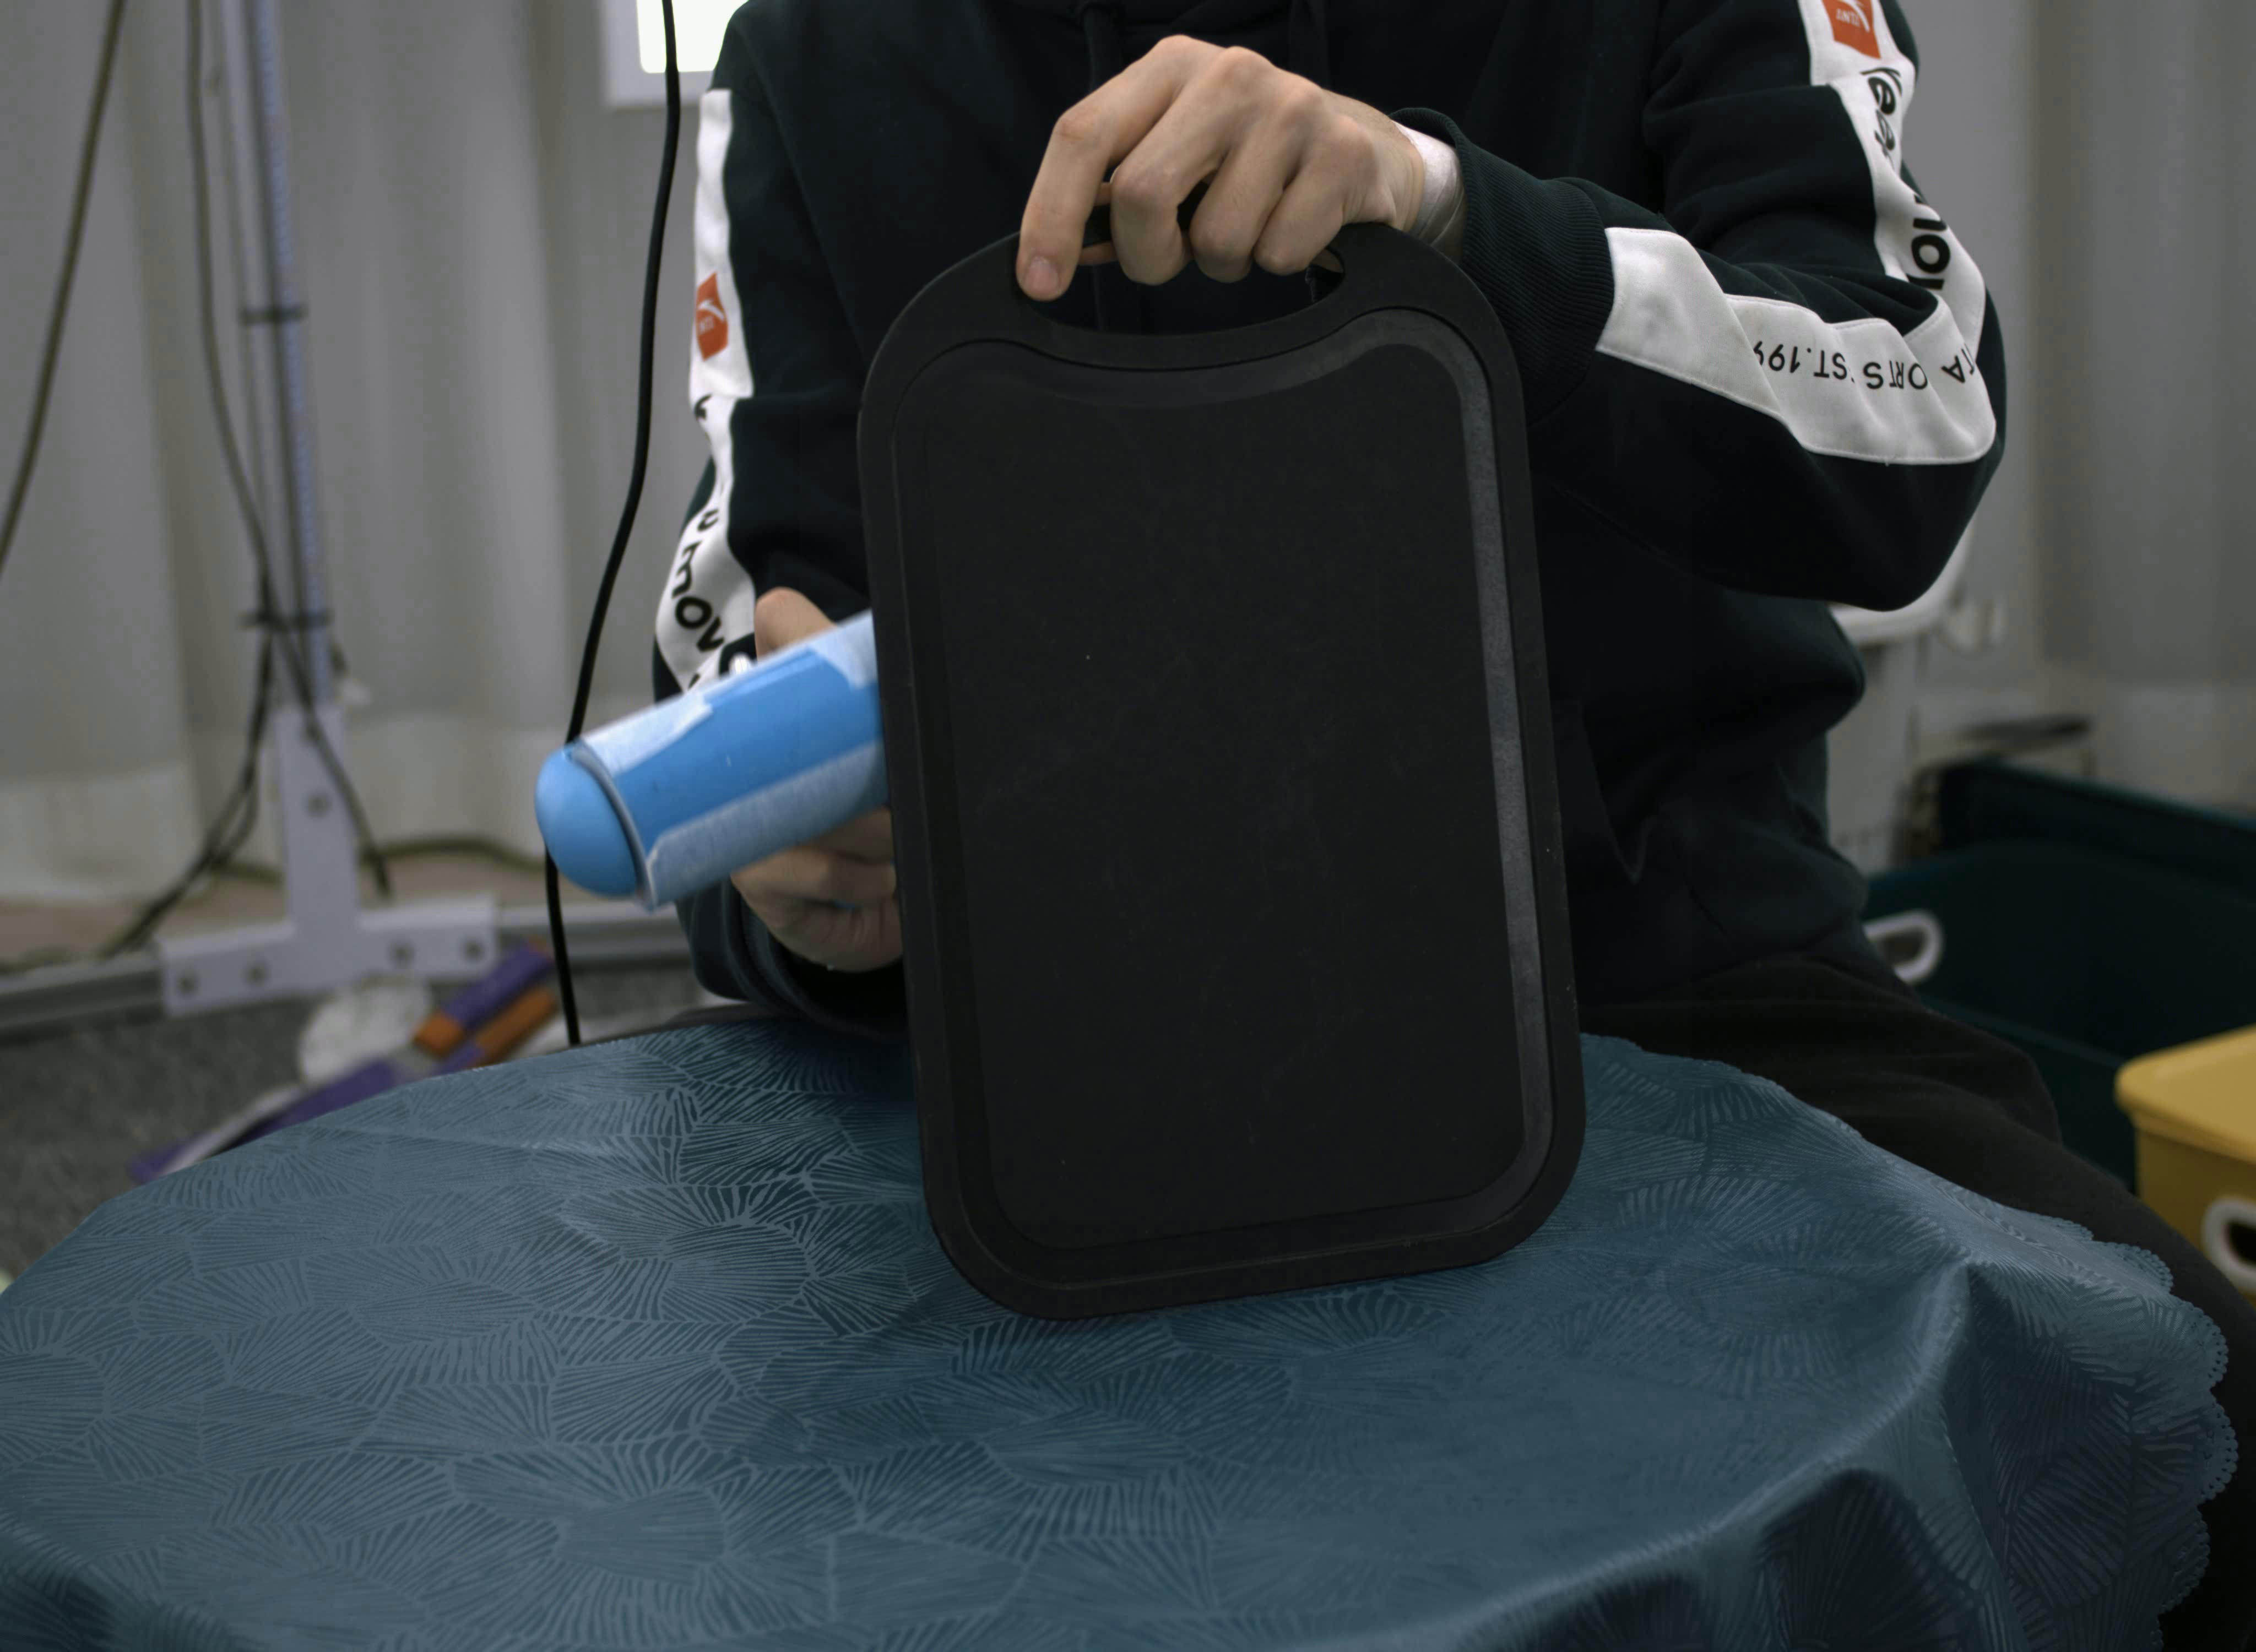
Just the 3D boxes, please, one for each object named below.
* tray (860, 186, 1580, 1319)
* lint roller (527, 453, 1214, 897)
[{"bbox_3d":[0.029,-0.024,1.603,0.210,0.326,0.010,-5,1,-19],"label":"tray"},{"bbox_3d":[-0.084,-0.032,1.654,0.229,0.068,0.179,-29,-10,-21],"label":"lint roller"}]
